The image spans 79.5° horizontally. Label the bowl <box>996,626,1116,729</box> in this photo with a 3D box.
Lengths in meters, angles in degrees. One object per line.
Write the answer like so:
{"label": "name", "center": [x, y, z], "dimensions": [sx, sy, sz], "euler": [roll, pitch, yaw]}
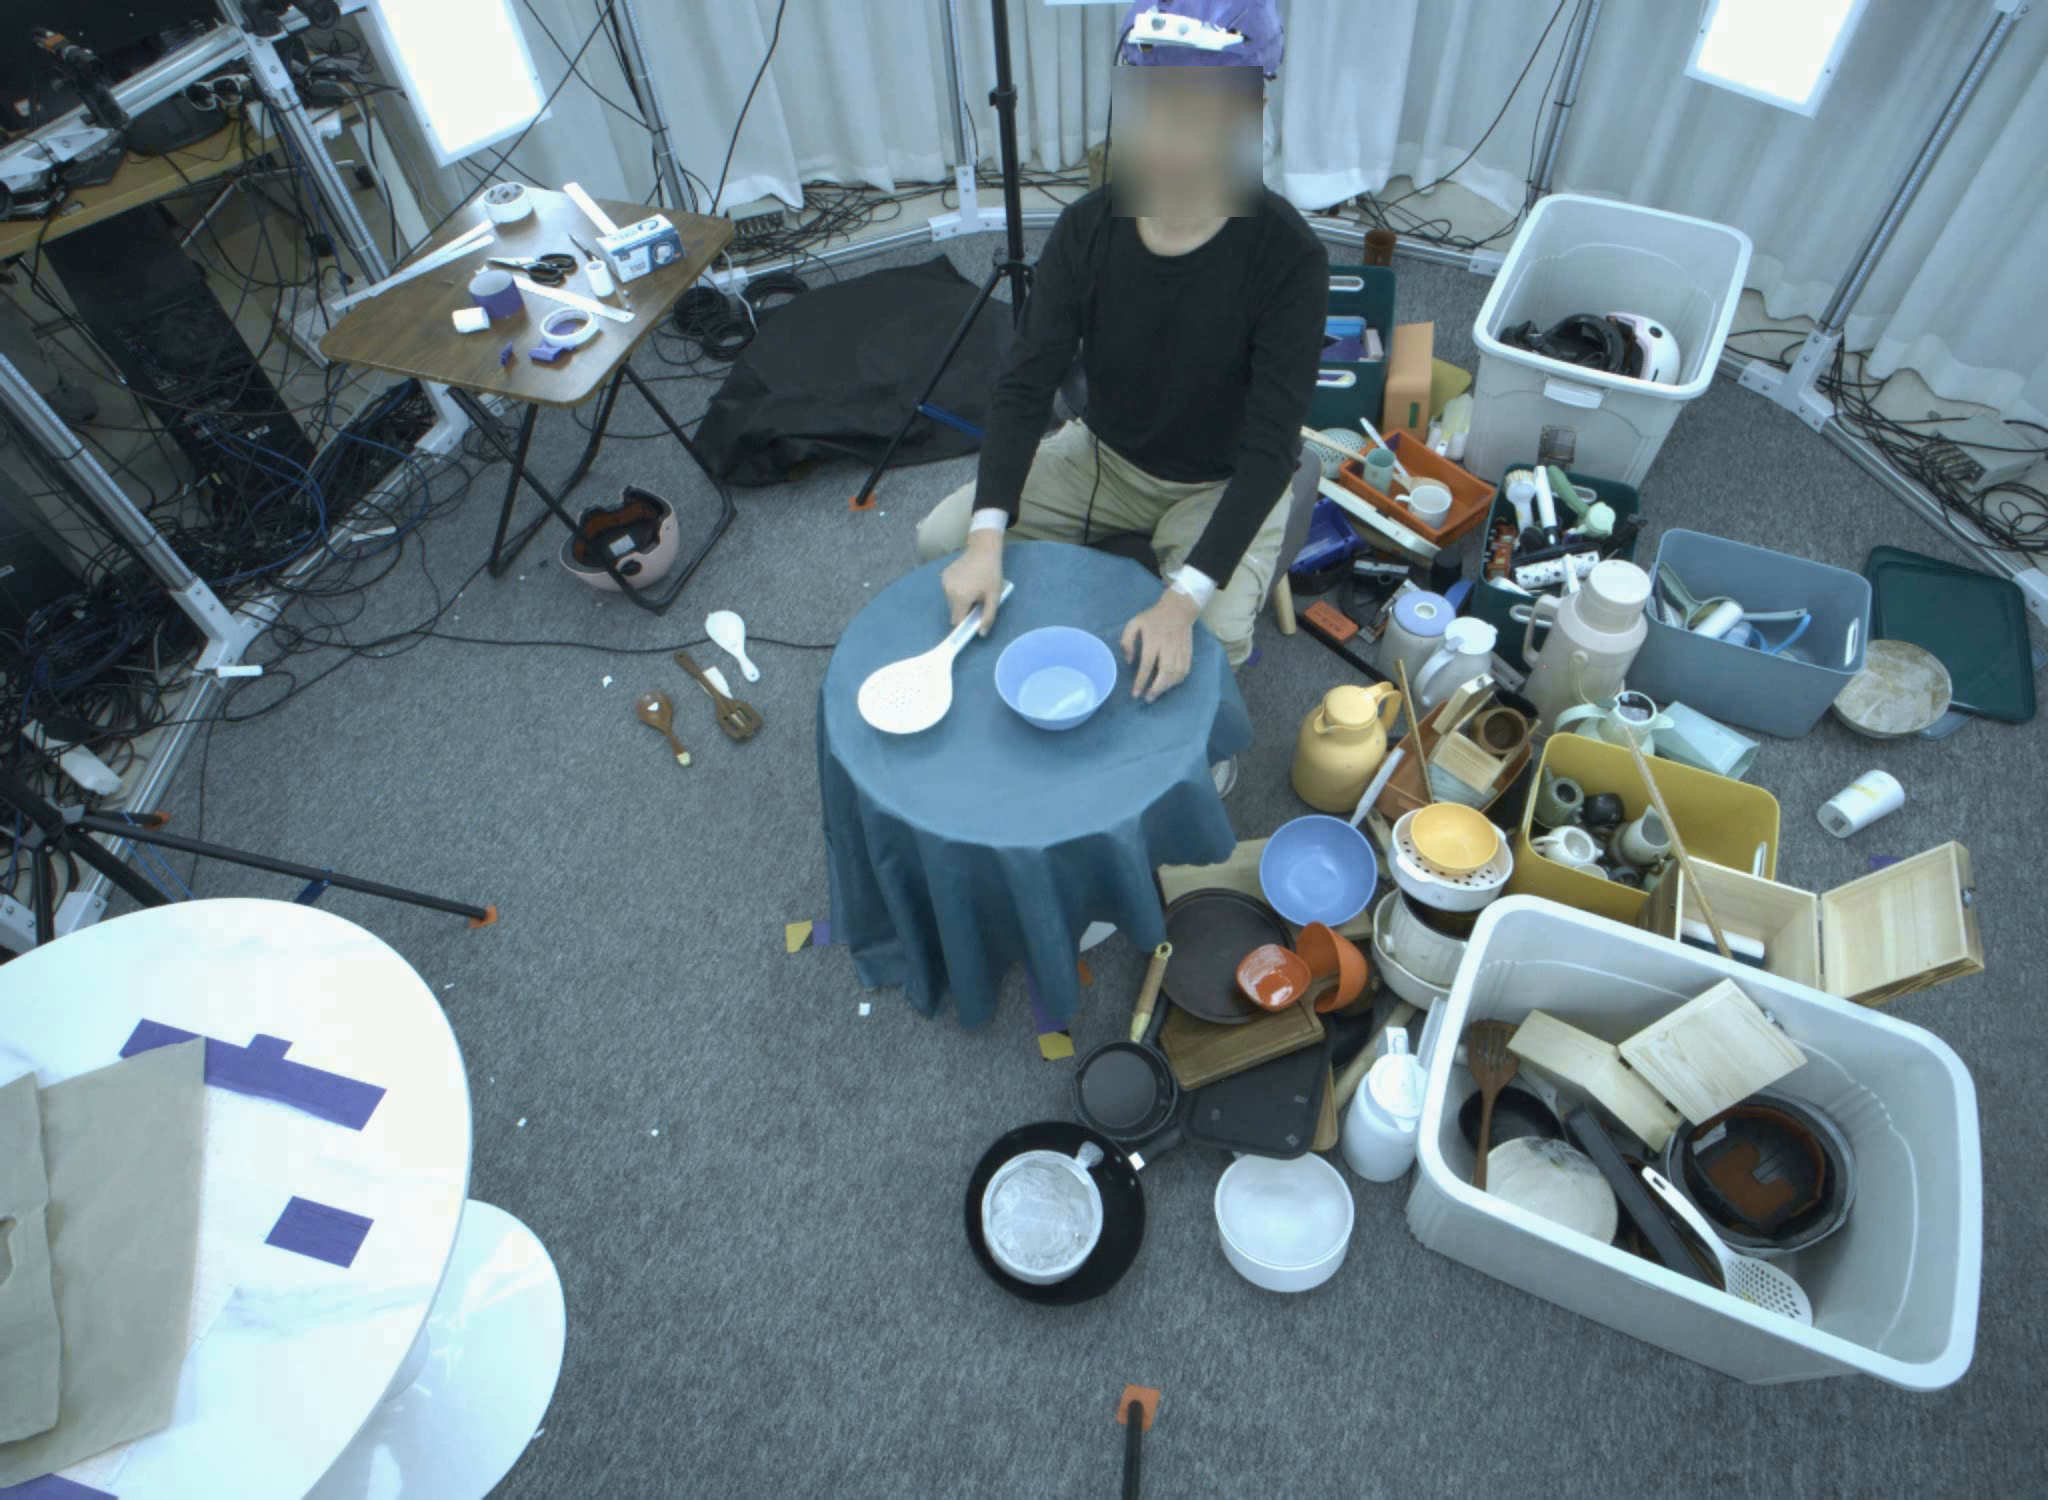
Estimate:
{"label": "bowl", "center": [0.048, -0.096, 1.811], "dimensions": [0.176, 0.071, 0.174], "euler": [0, 54, 2]}

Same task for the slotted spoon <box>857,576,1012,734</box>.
{"label": "slotted spoon", "center": [-0.121, -0.149, 1.860], "dimensions": [0.134, 0.046, 0.350], "euler": [24, 62, 19]}
